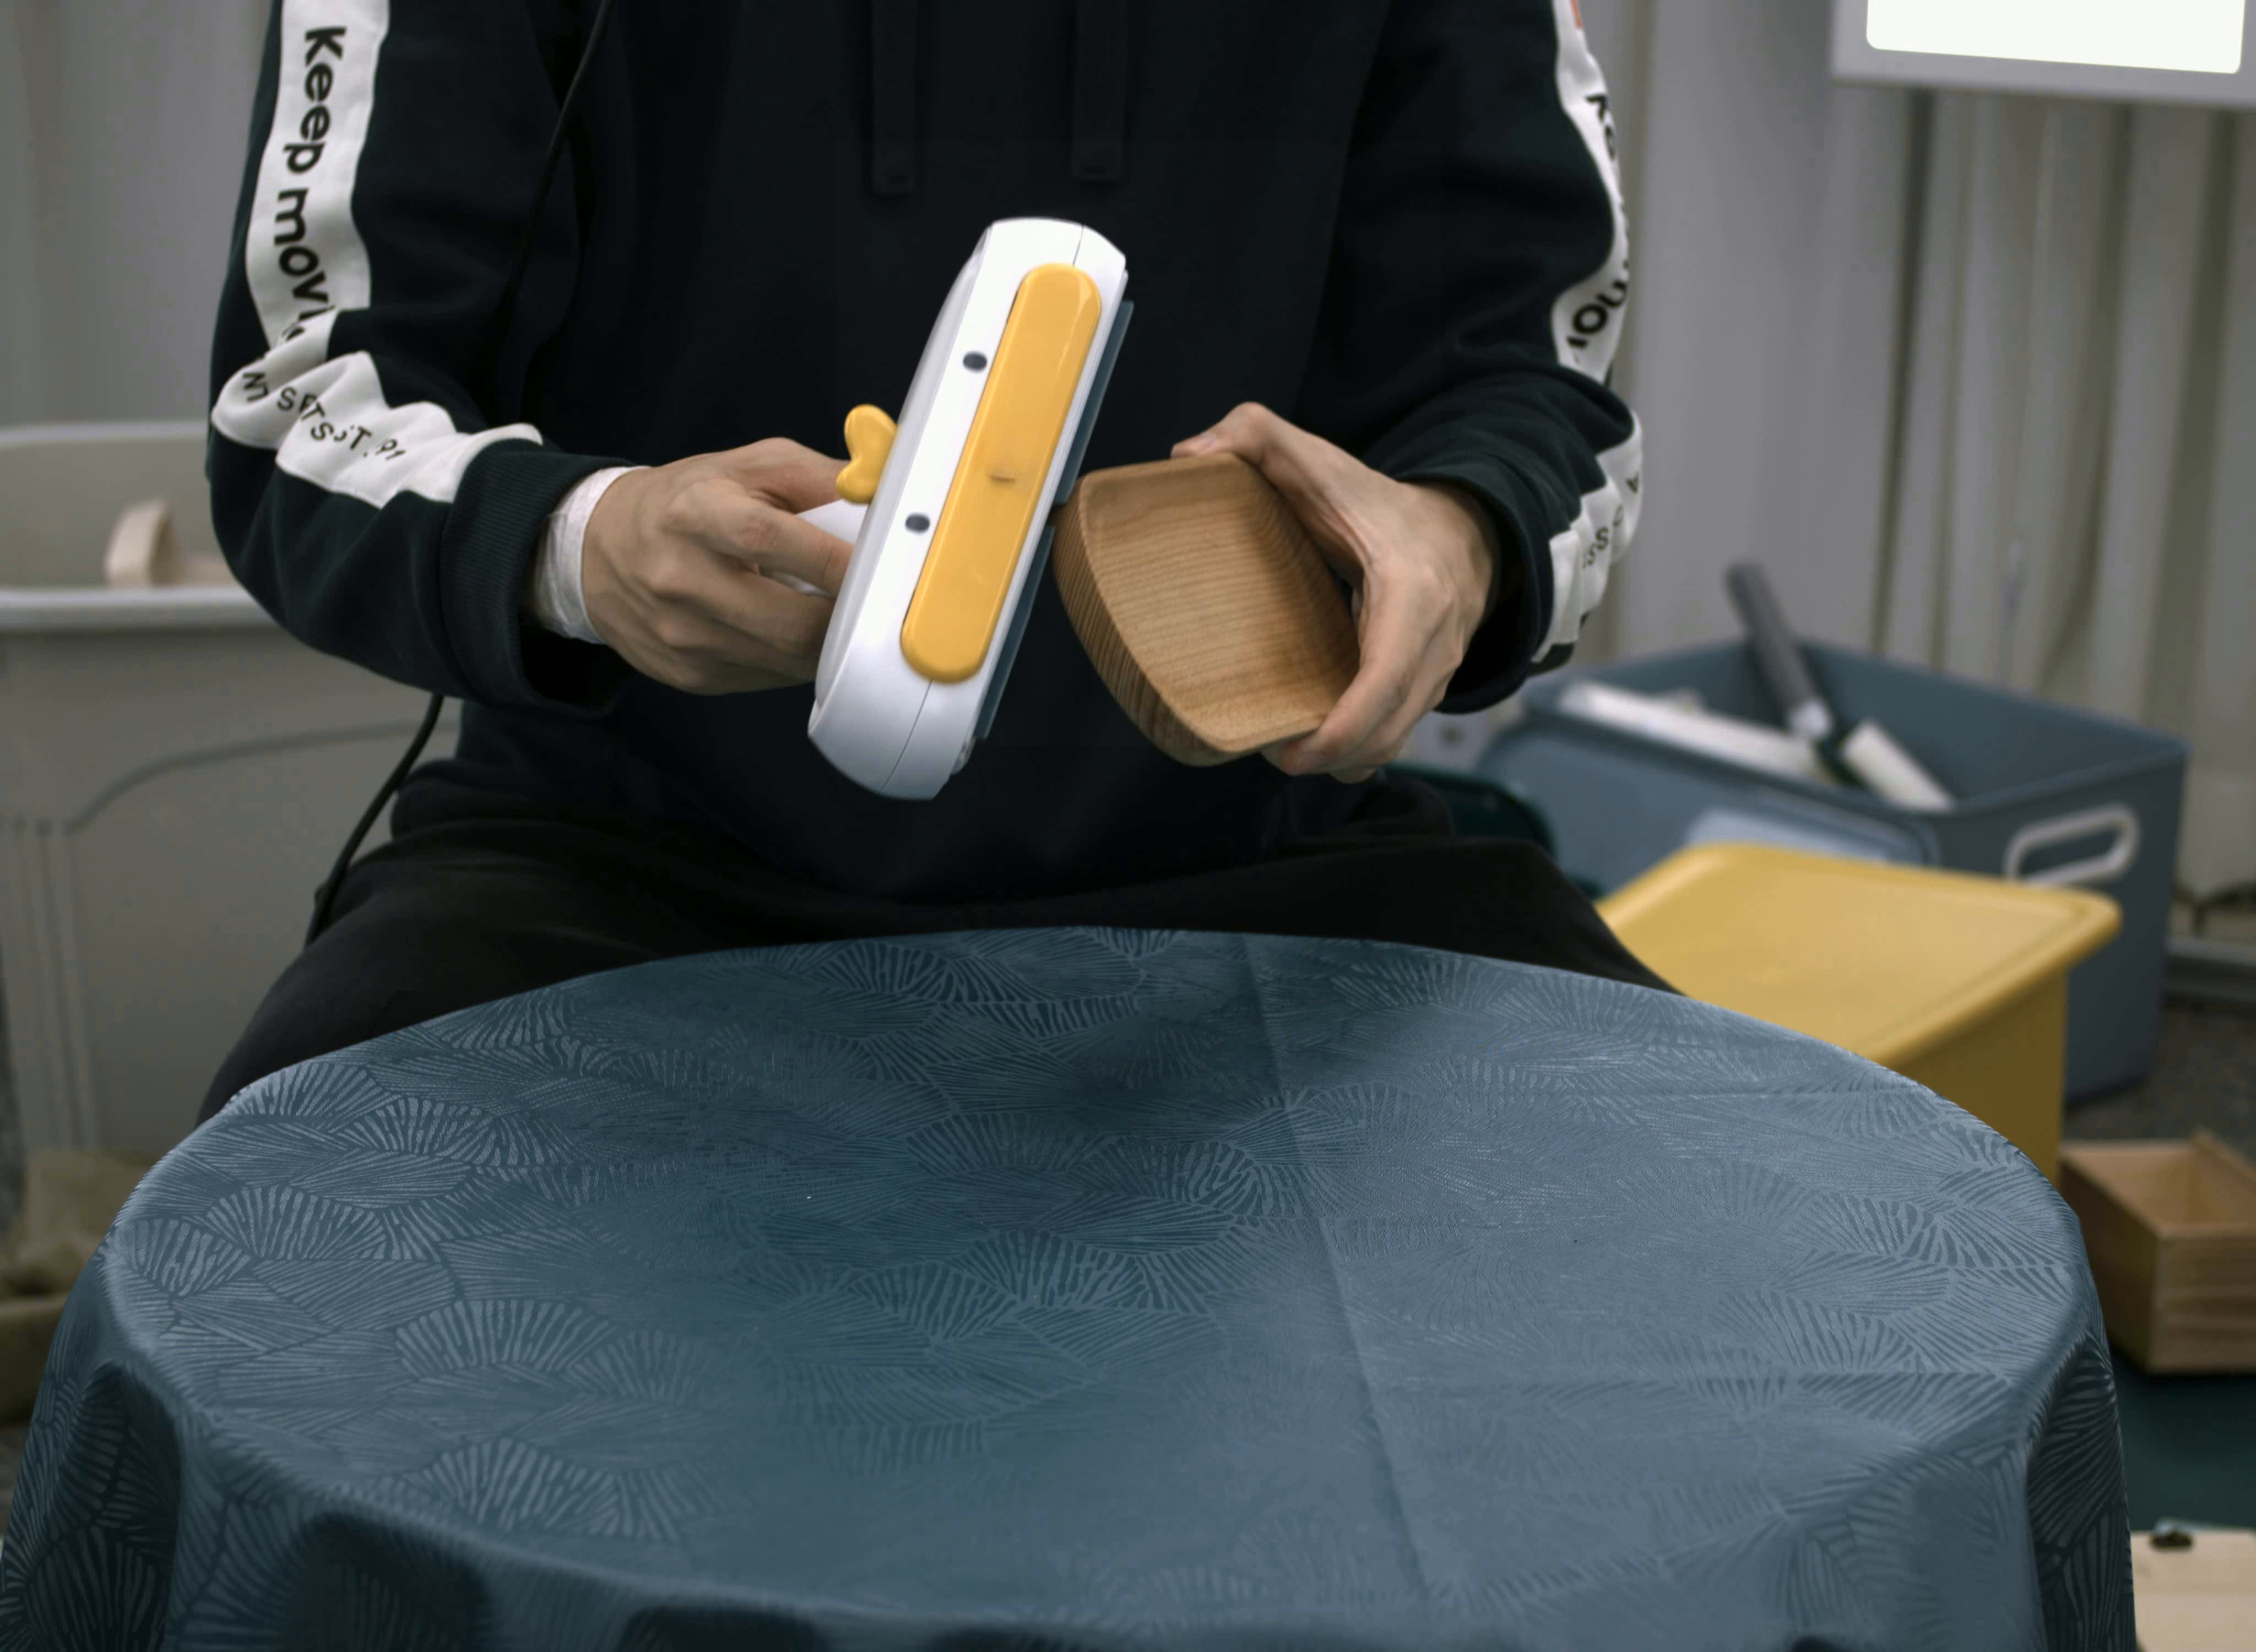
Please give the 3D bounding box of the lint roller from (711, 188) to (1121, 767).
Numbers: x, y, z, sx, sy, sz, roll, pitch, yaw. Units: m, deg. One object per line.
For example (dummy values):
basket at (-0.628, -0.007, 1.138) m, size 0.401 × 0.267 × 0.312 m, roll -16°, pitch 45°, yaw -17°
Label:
lint roller at (-0.076, -0.093, 1.679) m, size 0.074 × 0.192 × 0.192 m, roll 19°, pitch -24°, yaw -17°

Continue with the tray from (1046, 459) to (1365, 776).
tray at (0.027, -0.068, 1.706) m, size 0.020 × 0.102 × 0.232 m, roll -29°, pitch -3°, yaw 20°
